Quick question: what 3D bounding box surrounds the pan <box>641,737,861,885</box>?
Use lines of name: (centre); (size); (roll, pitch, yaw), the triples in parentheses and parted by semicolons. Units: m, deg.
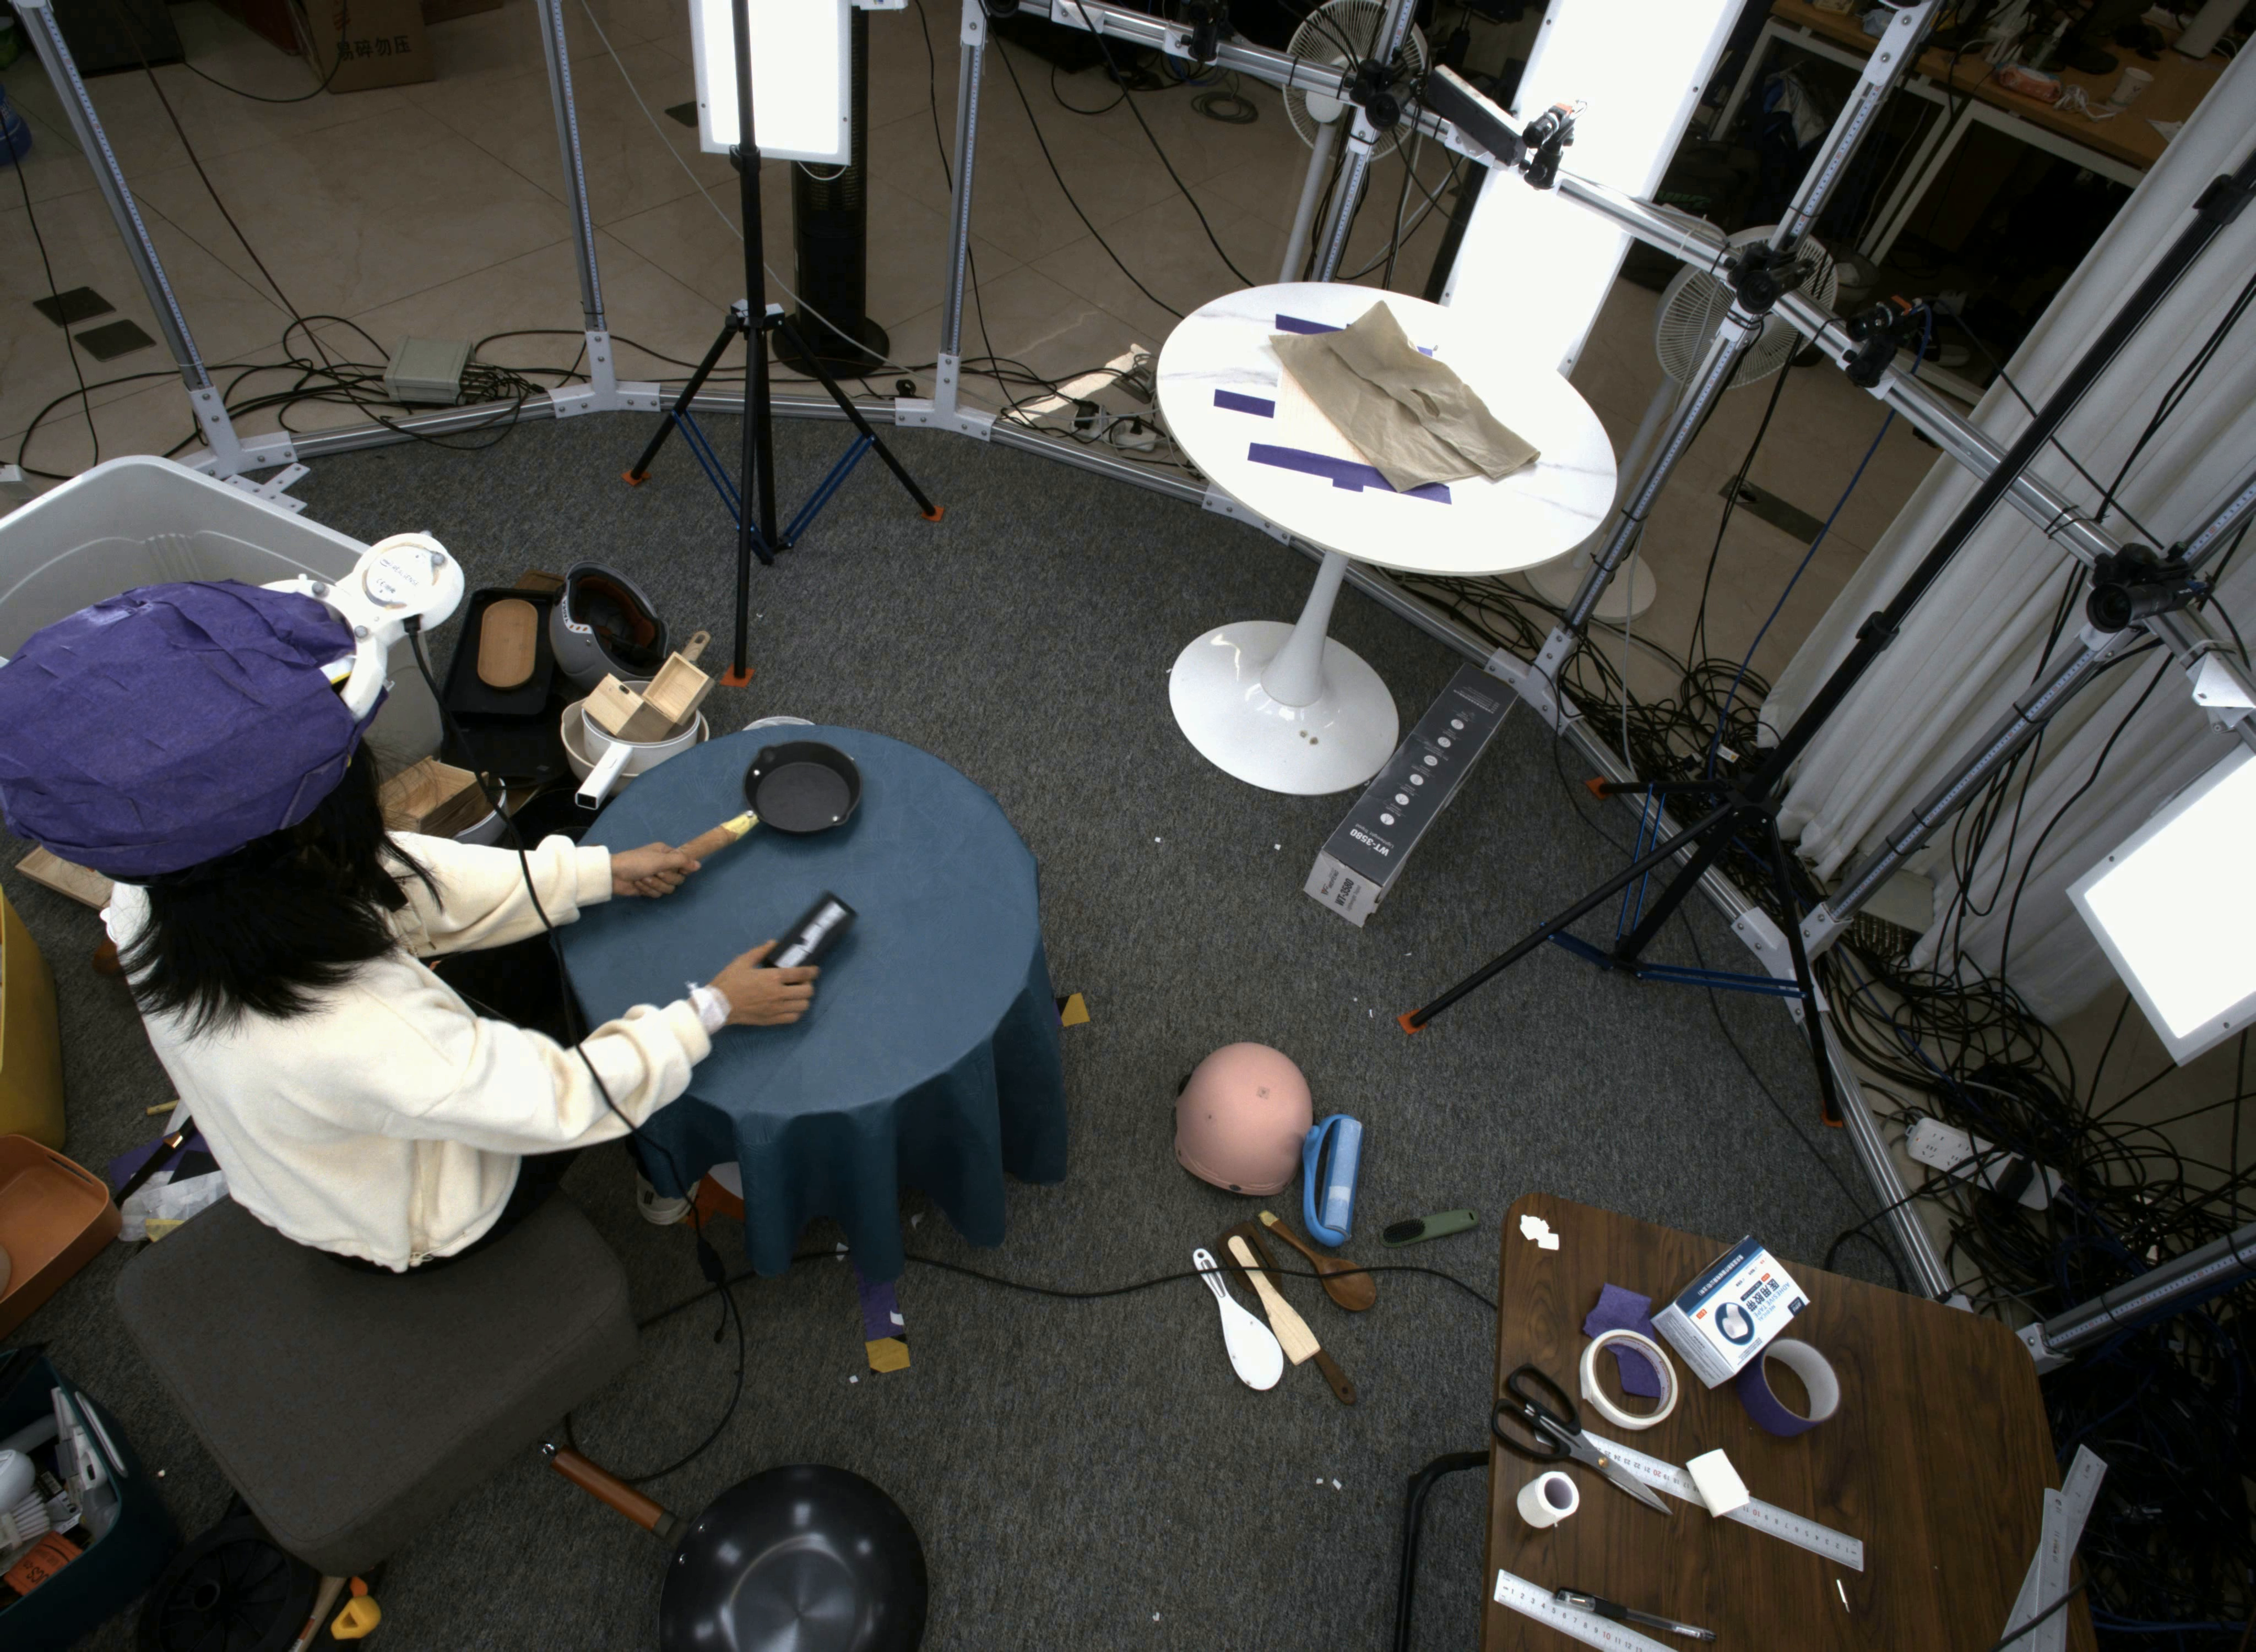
pan: (-0.491, -0.011, 1.676); (0.165, 0.050, 0.325); (42, 54, 16)

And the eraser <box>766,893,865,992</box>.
eraser: (-0.383, 0.139, 1.589); (0.053, 0.030, 0.125); (40, 56, 1)
